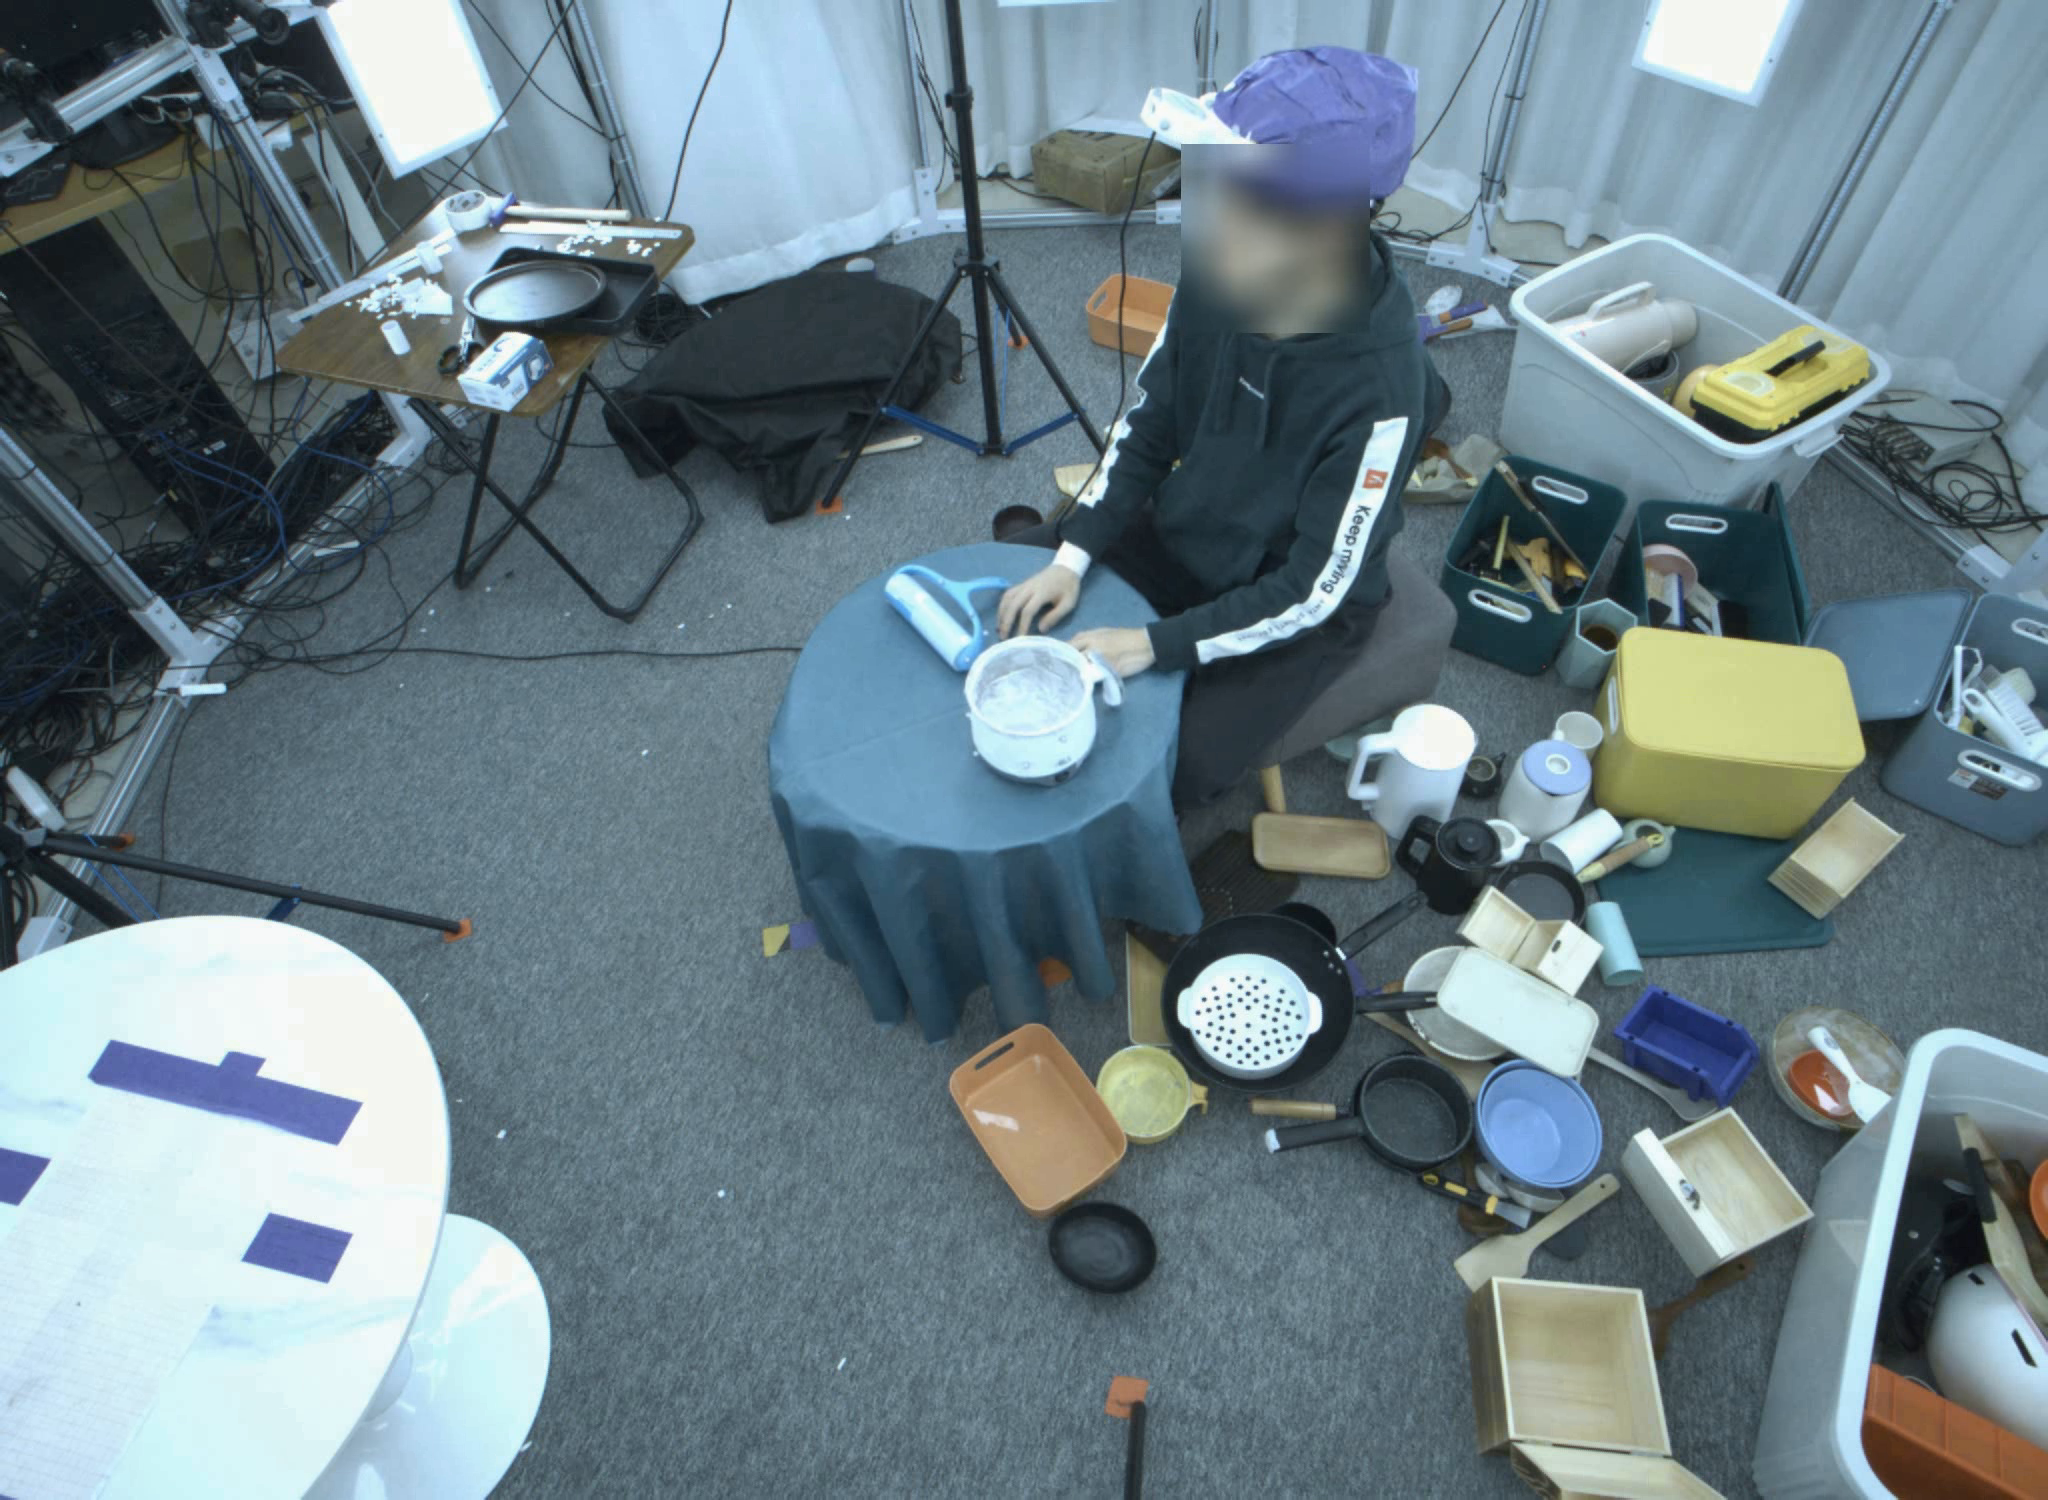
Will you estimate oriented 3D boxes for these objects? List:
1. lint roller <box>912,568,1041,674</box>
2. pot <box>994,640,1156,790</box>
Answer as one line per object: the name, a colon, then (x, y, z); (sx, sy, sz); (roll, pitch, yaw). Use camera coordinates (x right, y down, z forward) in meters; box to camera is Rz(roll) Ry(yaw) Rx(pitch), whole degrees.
lint roller: (-0.052, -0.227, 1.912); (0.181, 0.069, 0.224); (-35, 59, -20)
pot: (0.077, -0.058, 1.734); (0.235, 0.138, 0.175); (-24, 57, -12)
